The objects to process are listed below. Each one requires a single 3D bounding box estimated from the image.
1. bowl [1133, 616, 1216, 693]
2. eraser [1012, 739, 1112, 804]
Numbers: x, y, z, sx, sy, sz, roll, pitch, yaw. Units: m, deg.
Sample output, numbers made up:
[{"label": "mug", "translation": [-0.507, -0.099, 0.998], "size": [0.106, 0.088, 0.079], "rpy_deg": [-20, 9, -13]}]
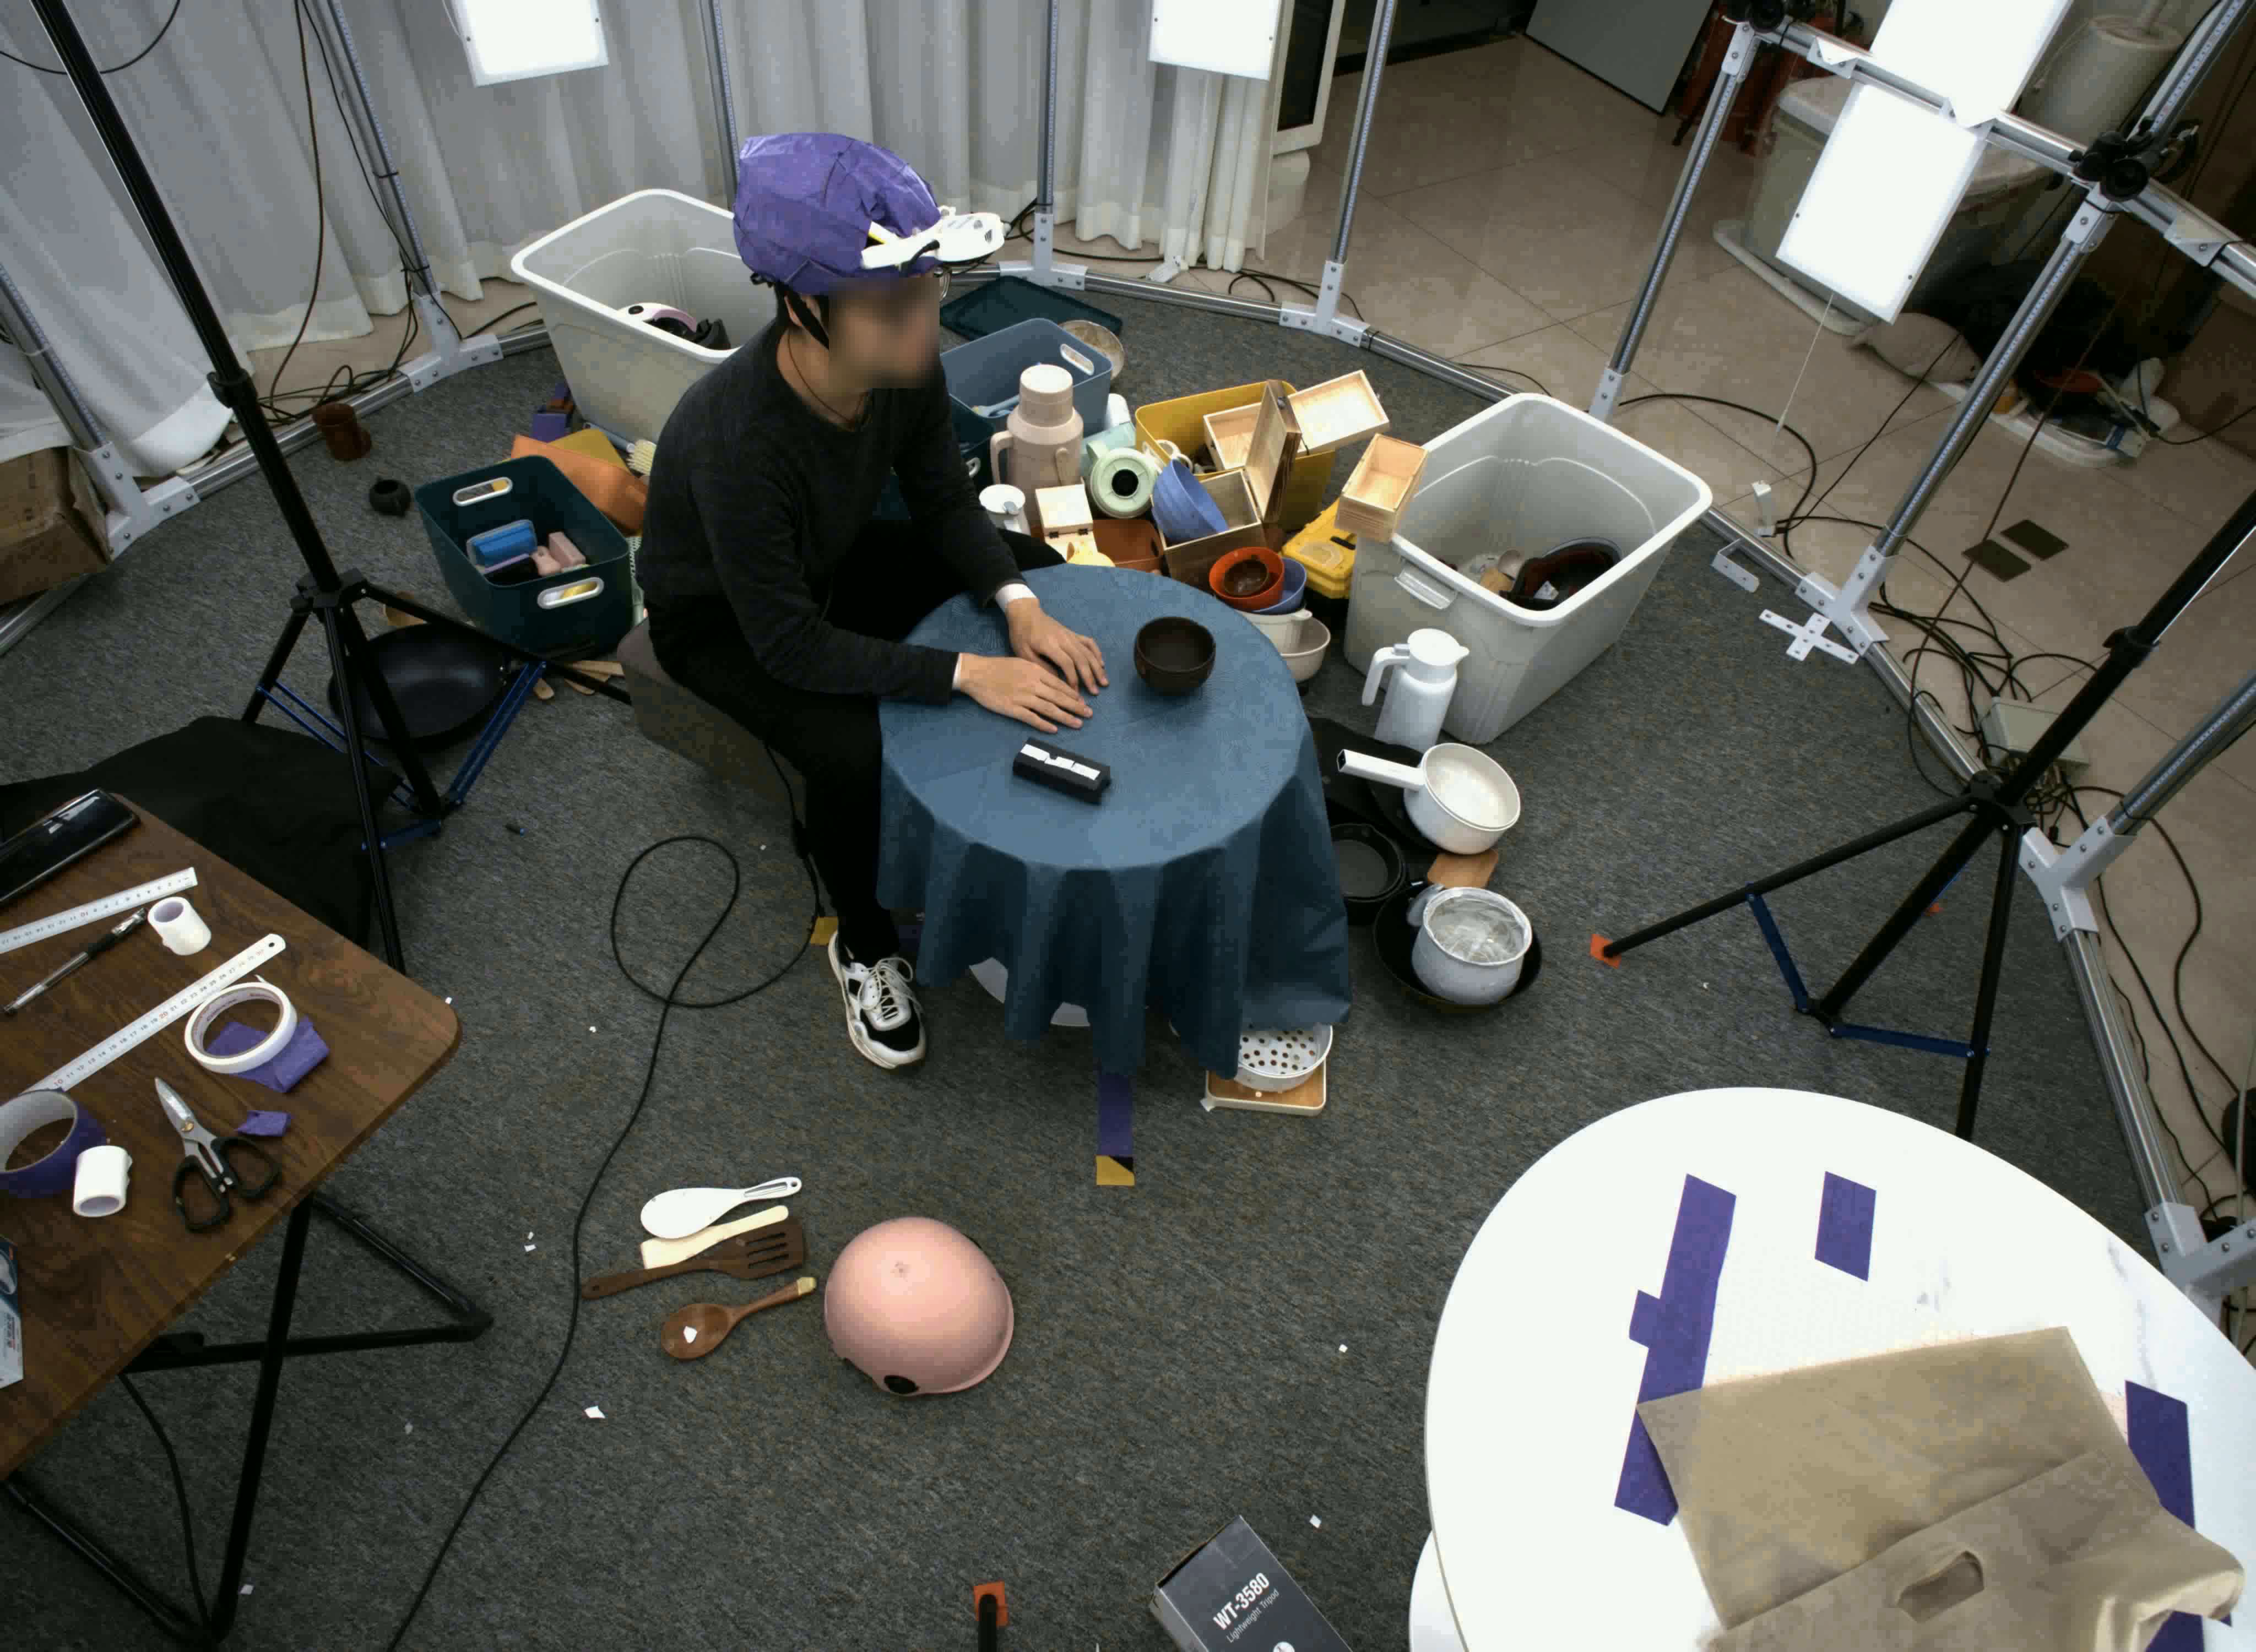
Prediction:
[{"label": "bowl", "translation": [0.065, -0.237, 1.834], "size": [0.118, 0.068, 0.121], "rpy_deg": [1, 49, -2]}, {"label": "eraser", "translation": [-0.088, -0.074, 1.710], "size": [0.126, 0.030, 0.054], "rpy_deg": [20, 48, 13]}]
